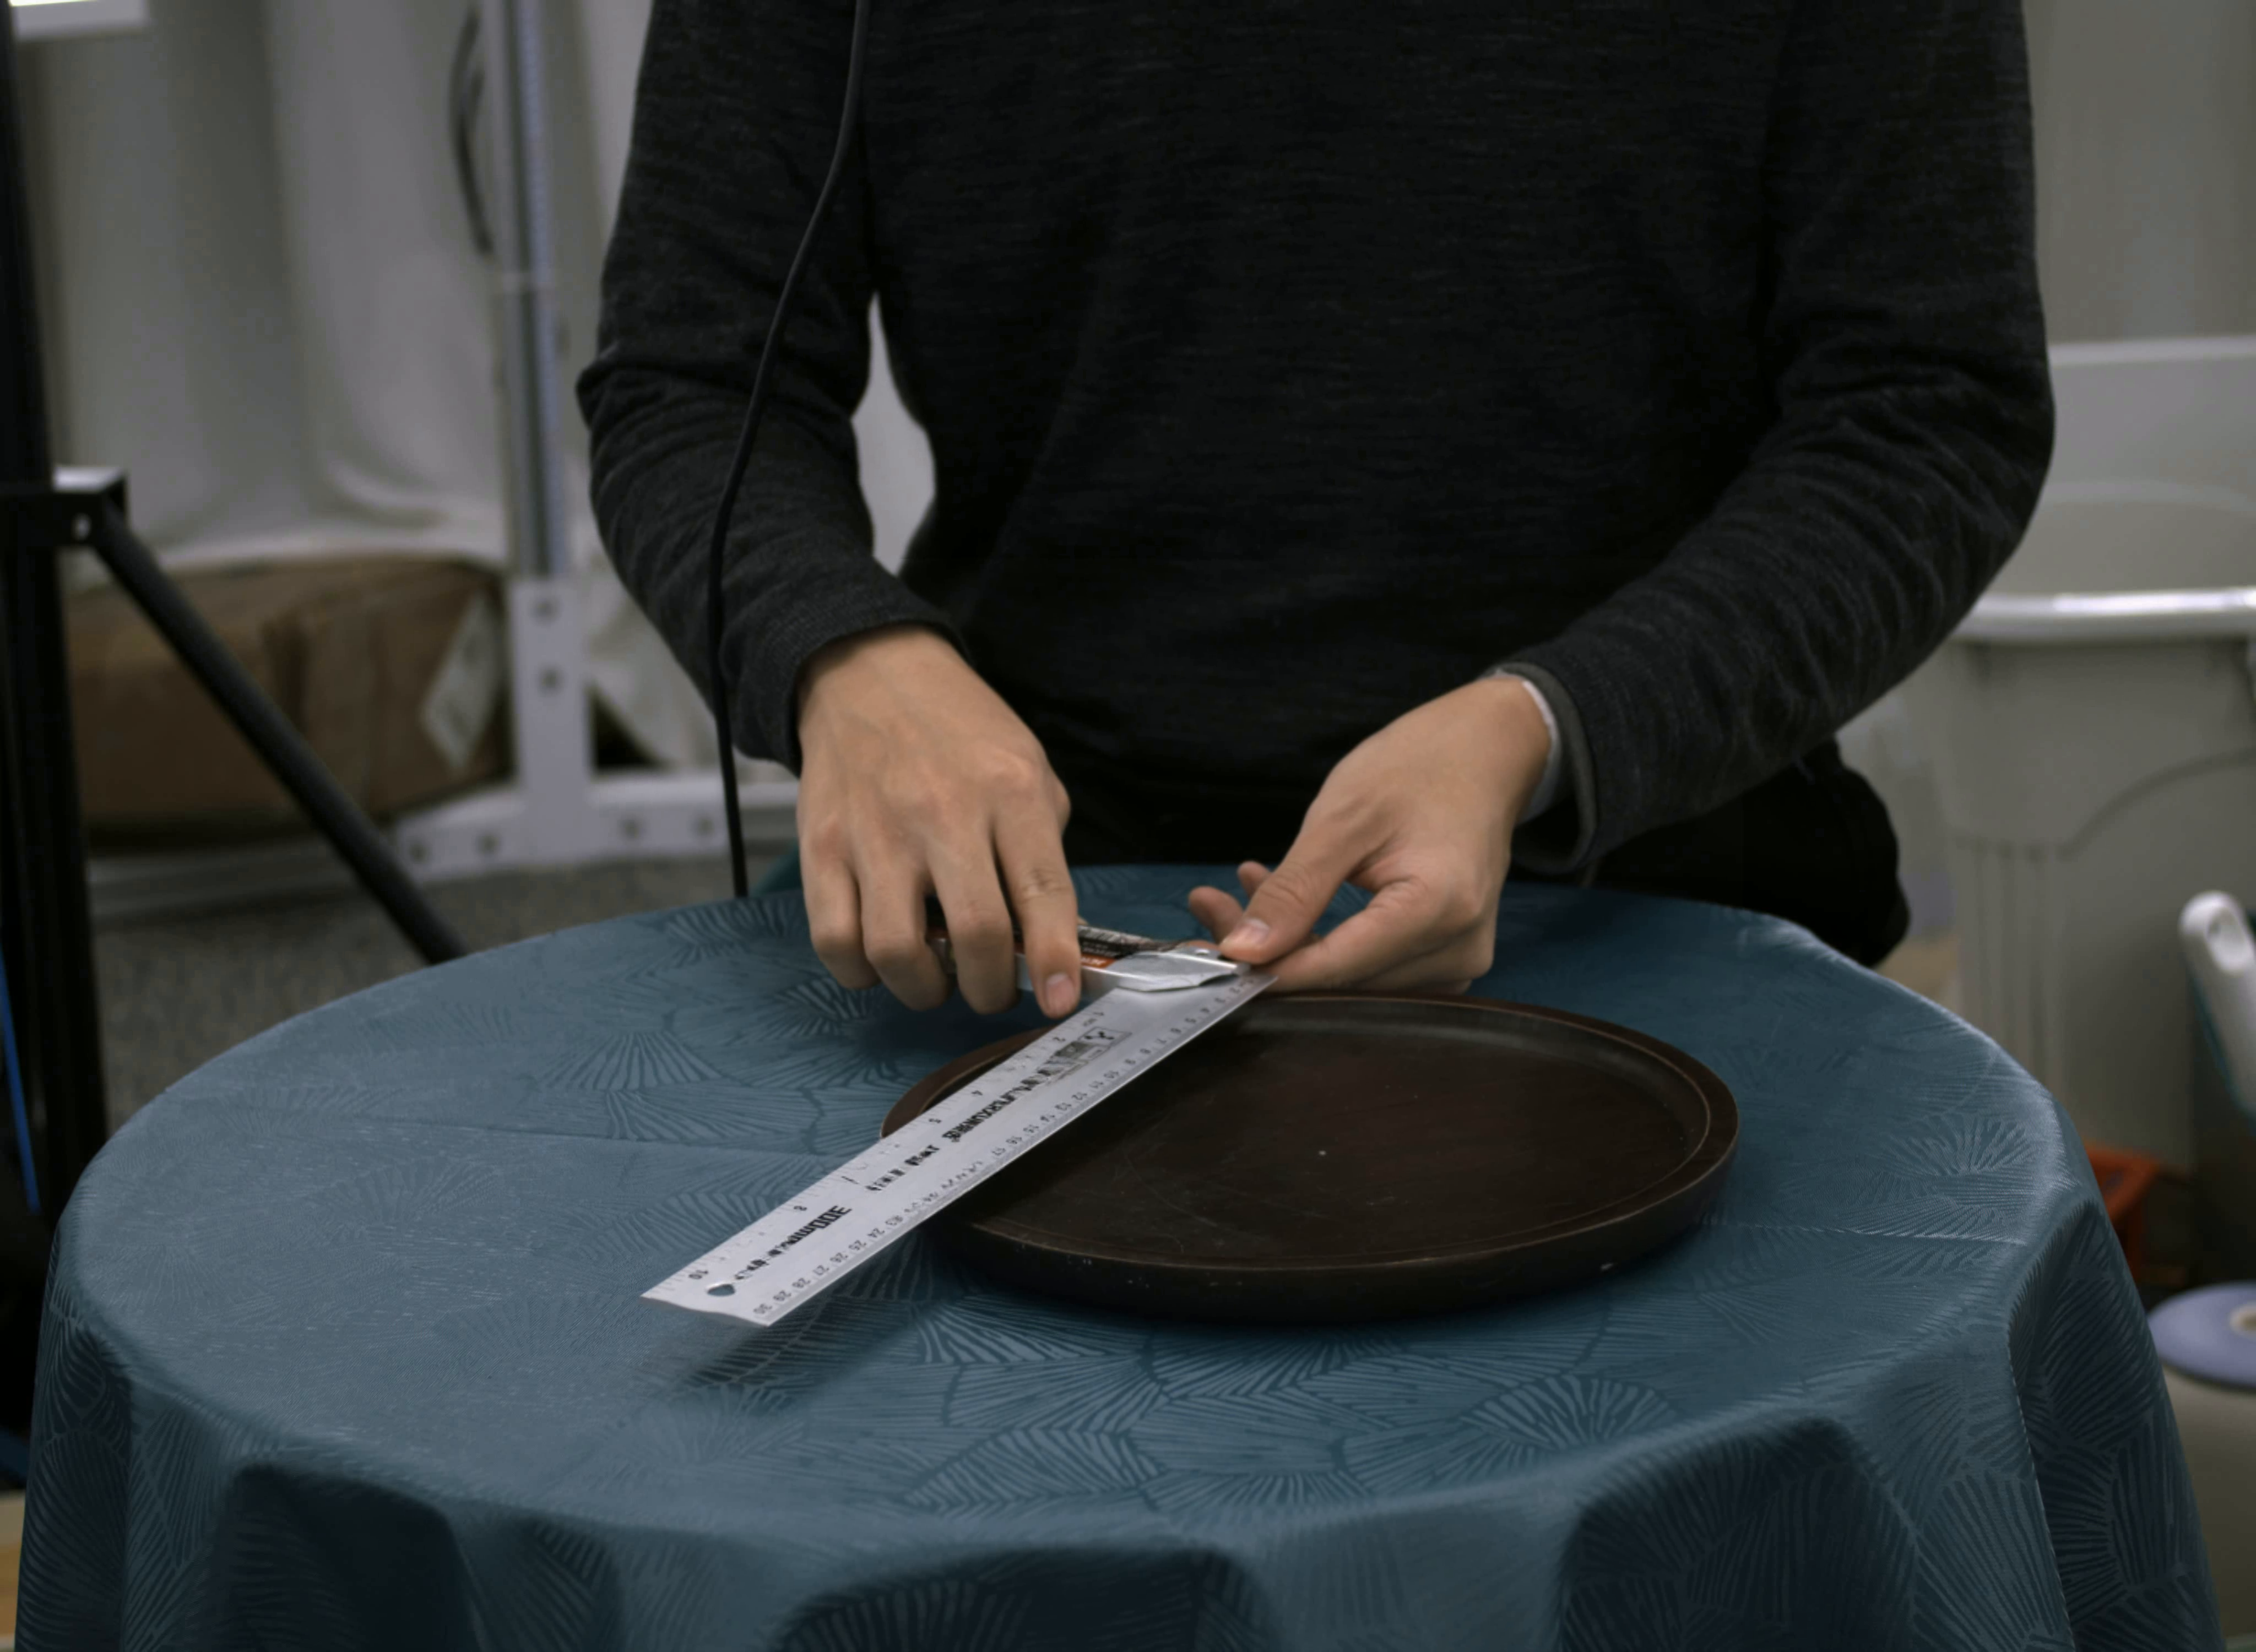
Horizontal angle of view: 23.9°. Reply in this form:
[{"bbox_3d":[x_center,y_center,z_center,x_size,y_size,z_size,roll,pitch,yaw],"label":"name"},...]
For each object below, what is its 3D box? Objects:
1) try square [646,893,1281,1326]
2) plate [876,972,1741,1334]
[{"bbox_3d":[-0.088,0.079,1.575,0.155,0.016,0.308,9,20,27],"label":"try square"},{"bbox_3d":[0.053,0.095,1.549,0.253,0.029,0.256,-4,17,0],"label":"plate"}]
